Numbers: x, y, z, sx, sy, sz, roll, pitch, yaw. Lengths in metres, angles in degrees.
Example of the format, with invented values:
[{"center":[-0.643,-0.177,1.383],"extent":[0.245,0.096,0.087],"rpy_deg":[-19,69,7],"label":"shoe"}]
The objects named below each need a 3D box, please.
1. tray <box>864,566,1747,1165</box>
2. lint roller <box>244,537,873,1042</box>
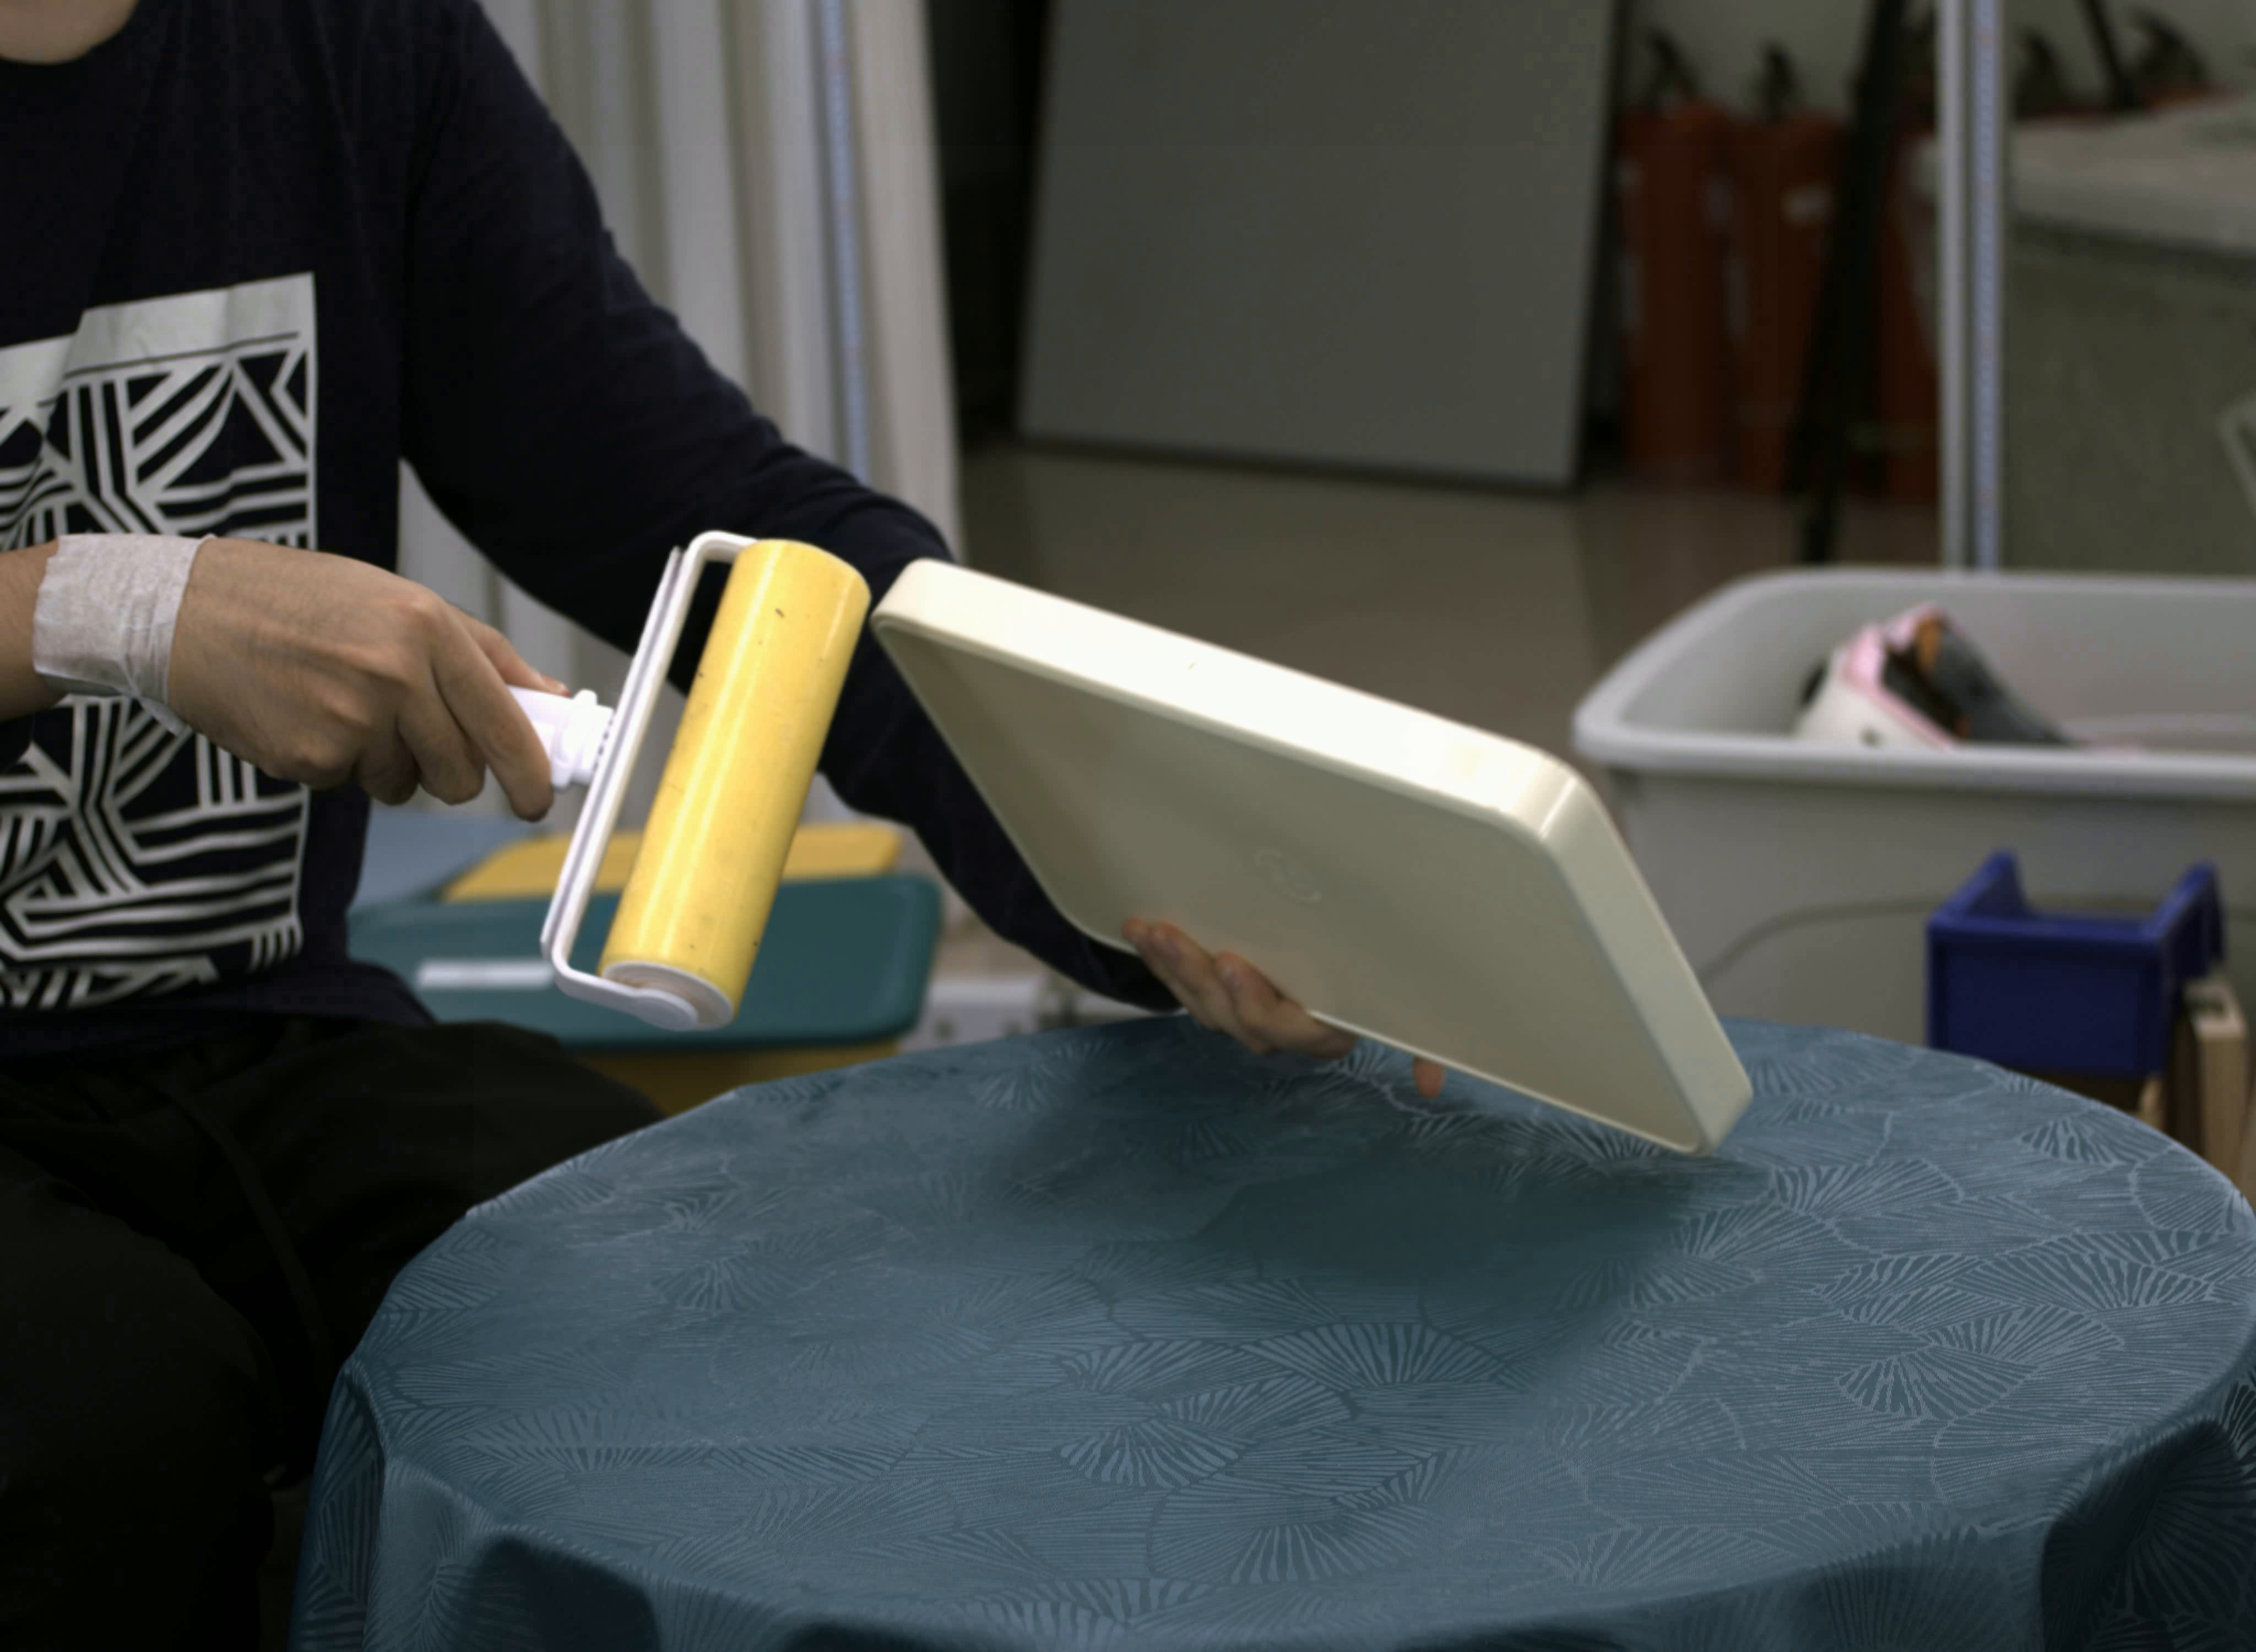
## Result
[{"center":[0.056,0.012,1.784],"extent":[0.303,0.190,0.027],"rpy_deg":[19,63,42],"label":"tray"},{"center":[-0.192,-0.031,1.753],"extent":[0.189,0.175,0.052],"rpy_deg":[17,-28,-3],"label":"lint roller"}]
